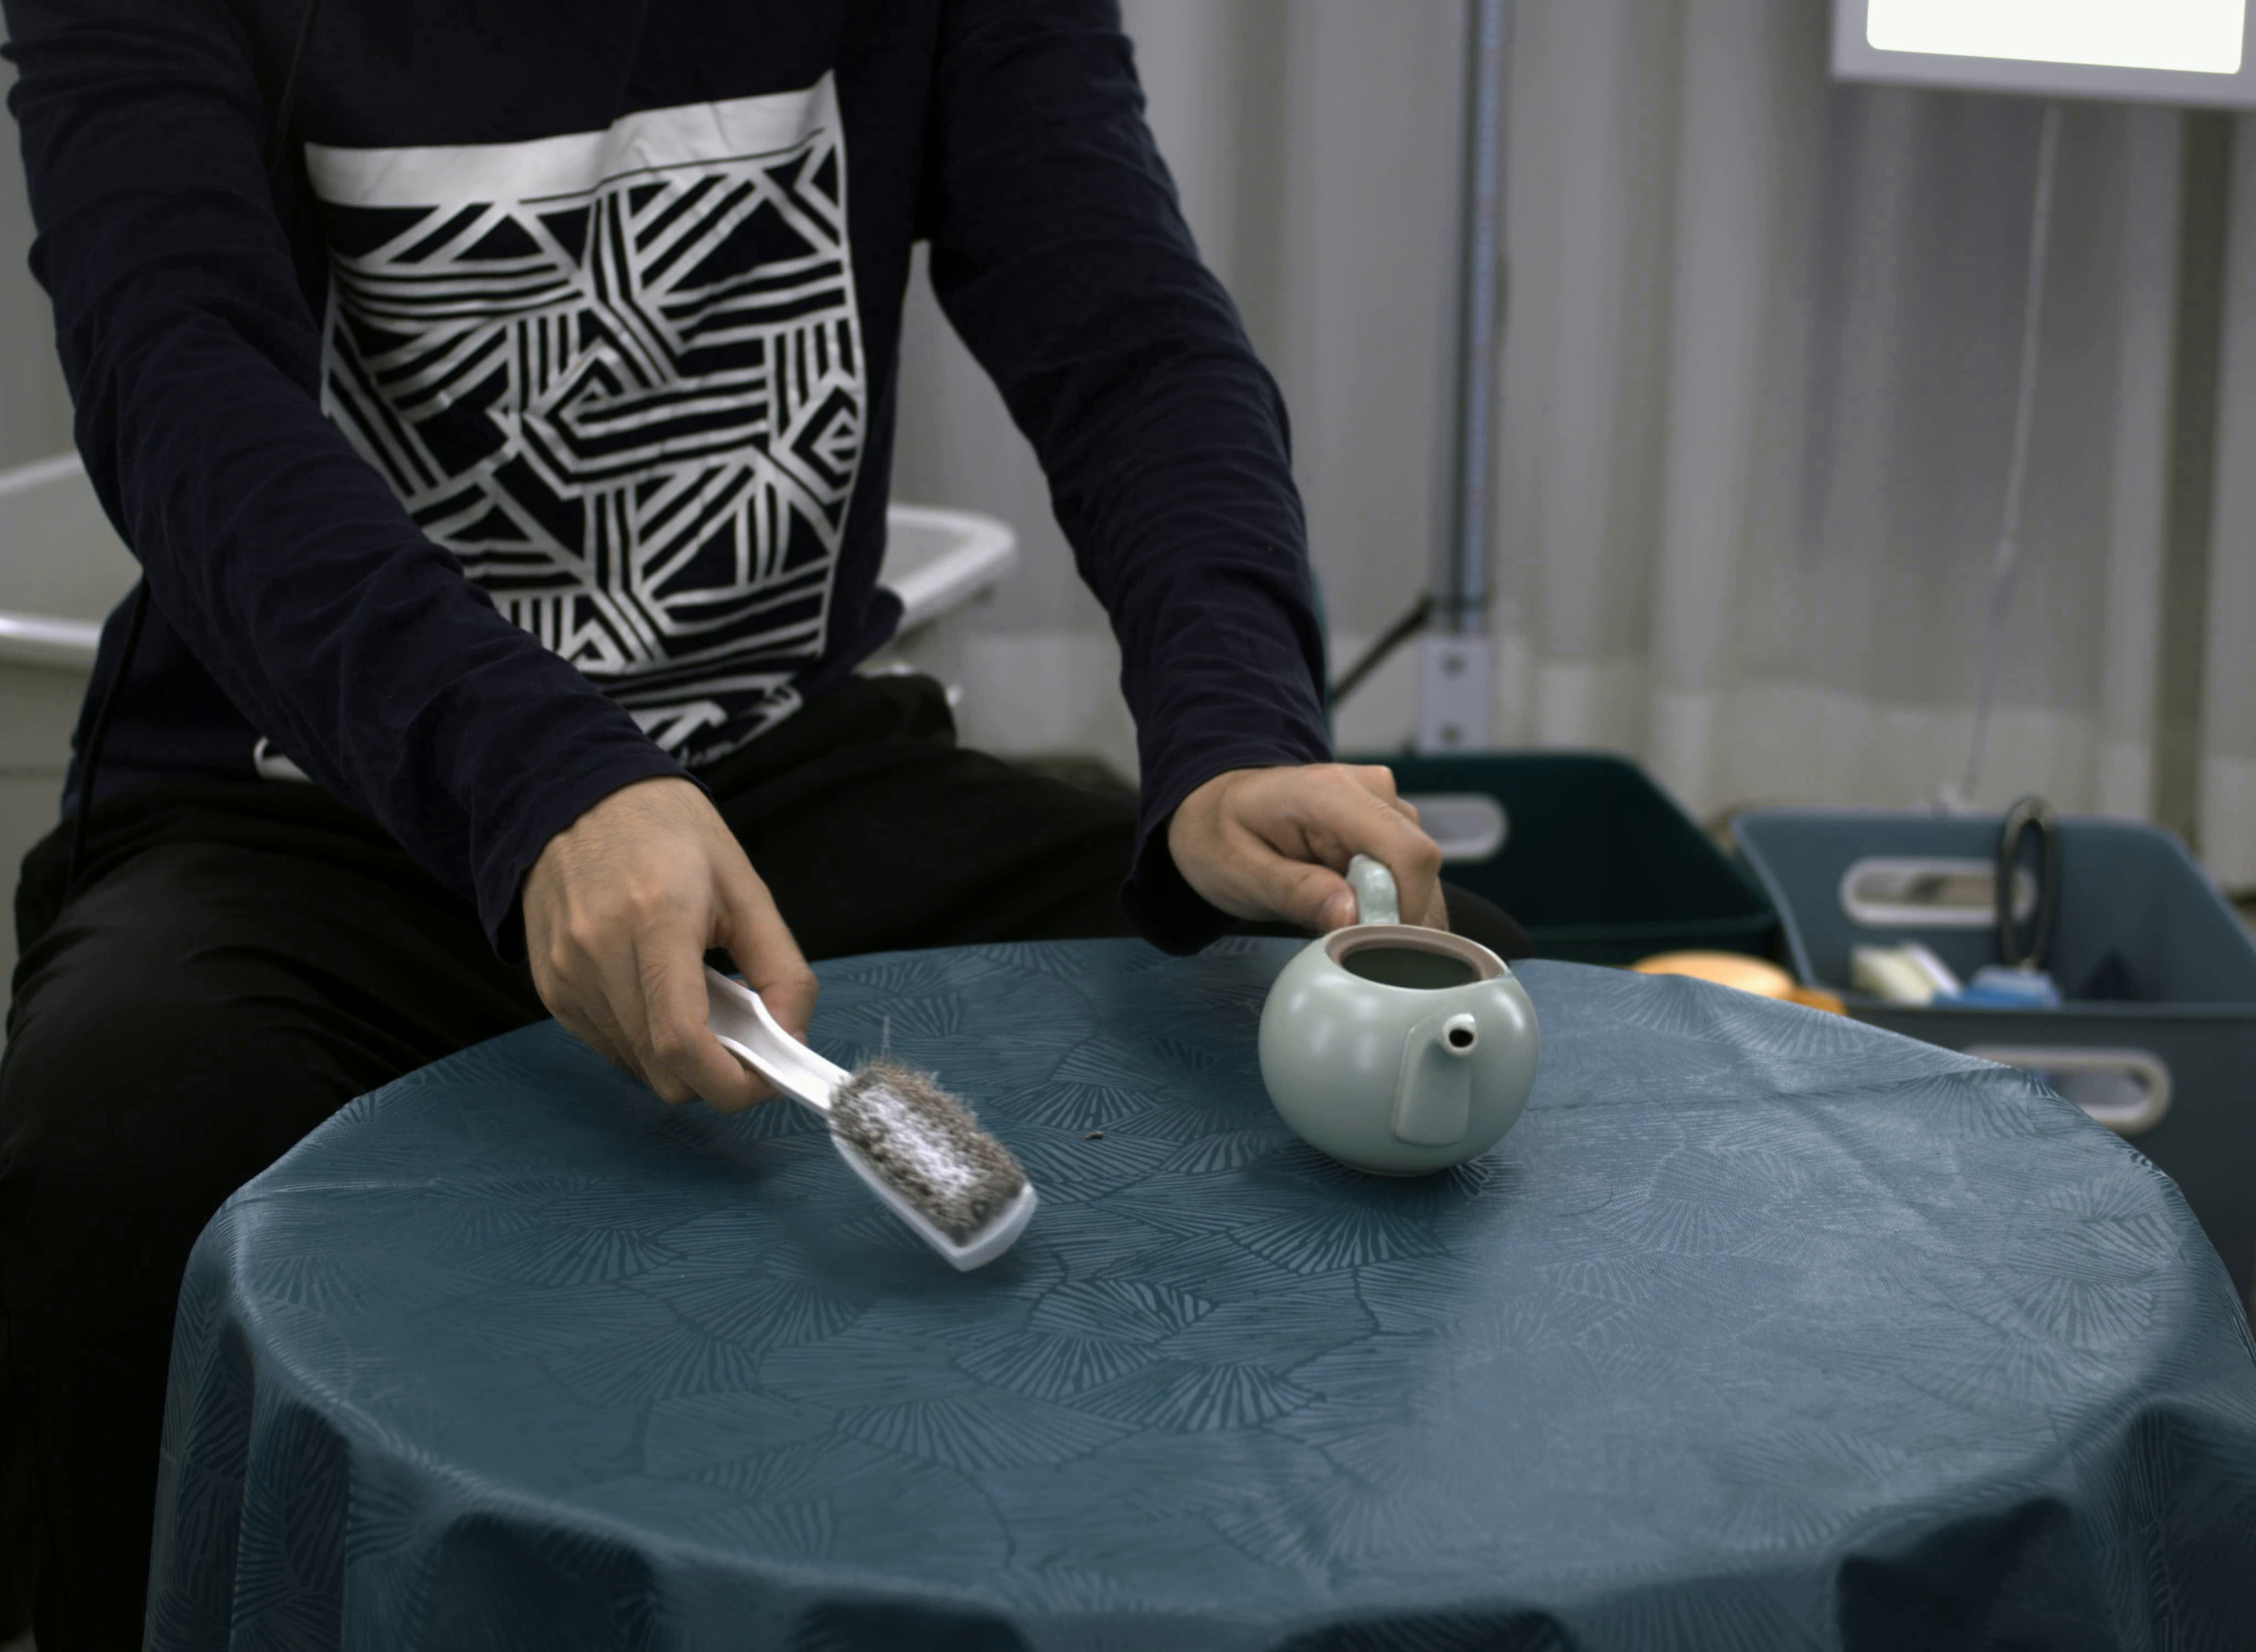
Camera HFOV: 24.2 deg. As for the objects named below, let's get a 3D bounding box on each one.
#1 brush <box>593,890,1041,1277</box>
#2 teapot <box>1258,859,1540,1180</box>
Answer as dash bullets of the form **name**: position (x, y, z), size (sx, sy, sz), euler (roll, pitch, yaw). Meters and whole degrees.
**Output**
- **brush**: position (-0.106, 0.065, 1.611), size (0.034, 0.051, 0.240), euler (-43, 45, -11)
- **teapot**: position (0.085, 0.069, 1.645), size (0.088, 0.075, 0.142), euler (1, 23, -10)
